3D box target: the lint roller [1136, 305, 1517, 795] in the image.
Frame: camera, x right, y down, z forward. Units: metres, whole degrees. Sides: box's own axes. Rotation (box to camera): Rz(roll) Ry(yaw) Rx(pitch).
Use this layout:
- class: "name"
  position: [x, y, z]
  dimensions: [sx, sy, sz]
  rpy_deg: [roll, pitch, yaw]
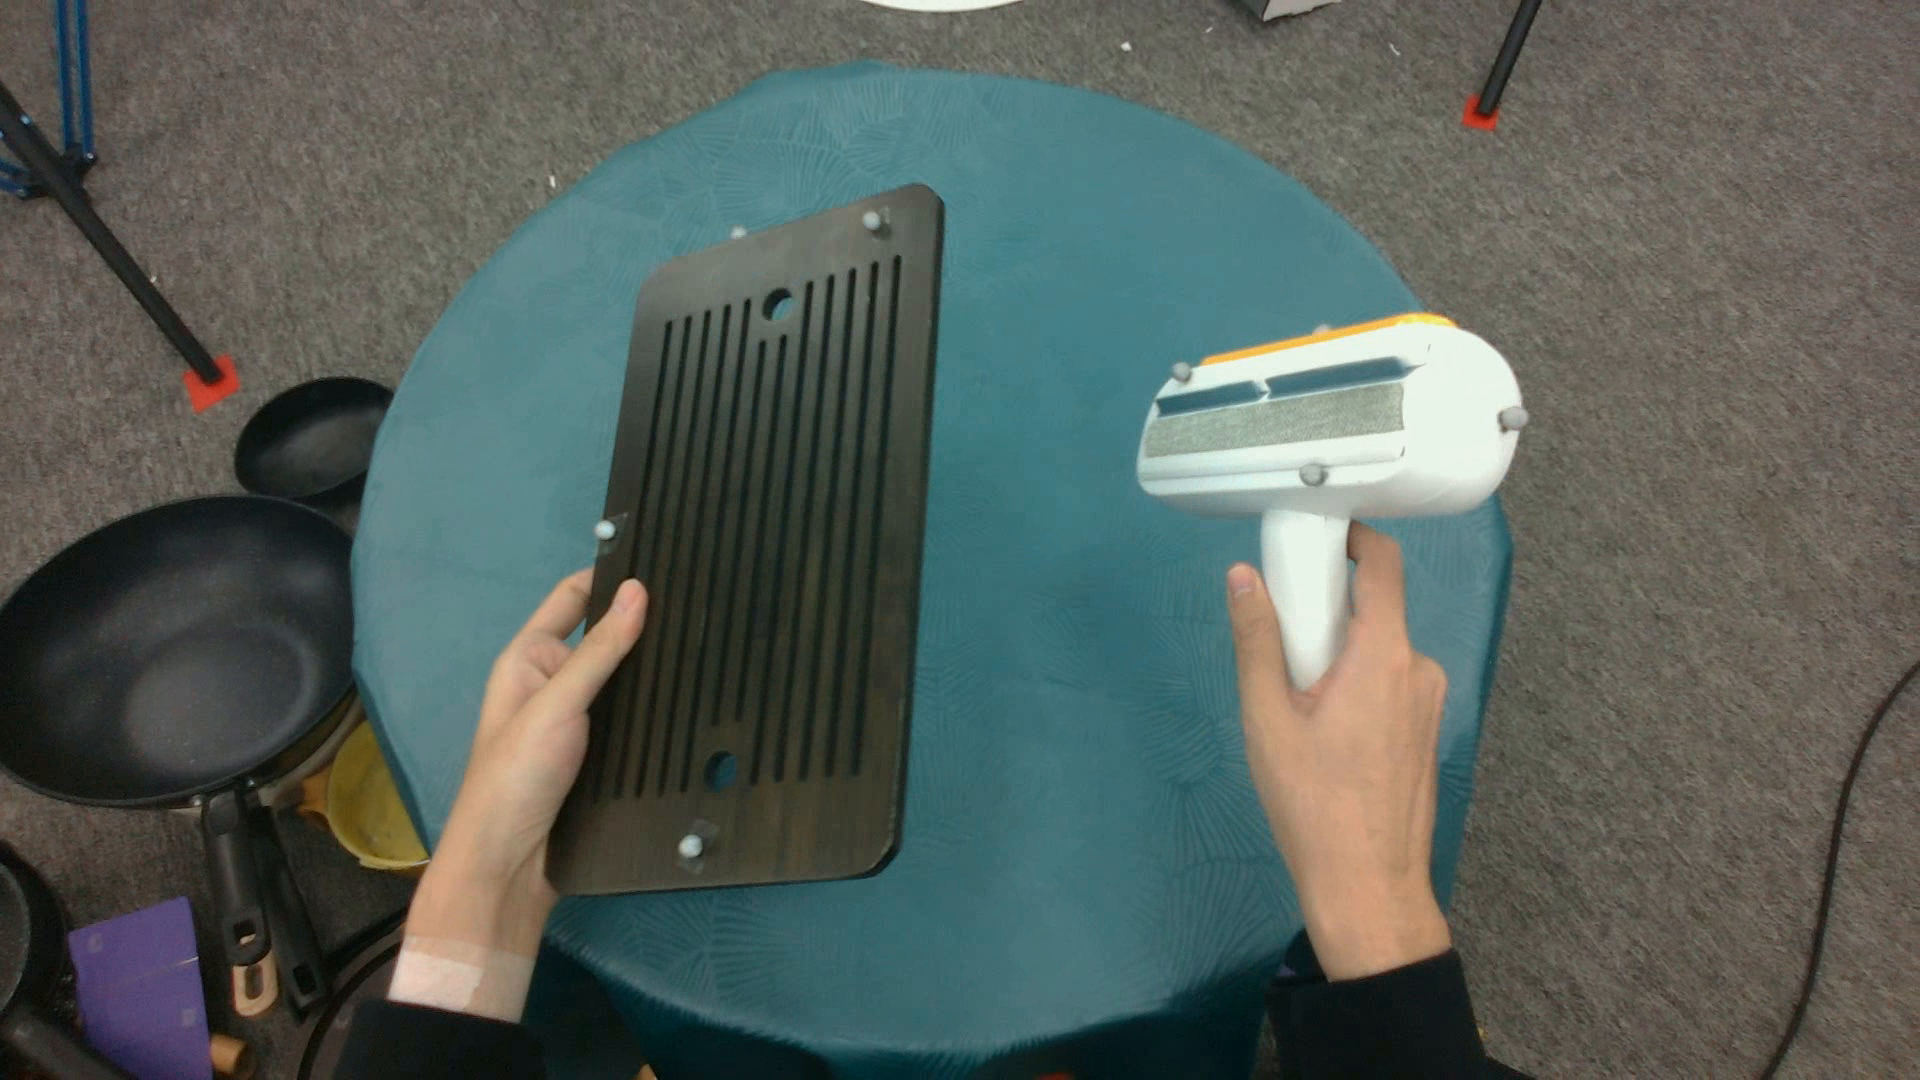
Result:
- class: "lint roller"
  position: [0.134, 0.007, 0.552]
  dimensions: [0.074, 0.192, 0.192]
  rpy_deg: [7, 92, -27]

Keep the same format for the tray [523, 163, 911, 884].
- class: "tray"
  position: [-0.098, -0.012, 0.586]
  dimensions: [0.169, 0.018, 0.307]
  rpy_deg: [-11, 64, 27]
